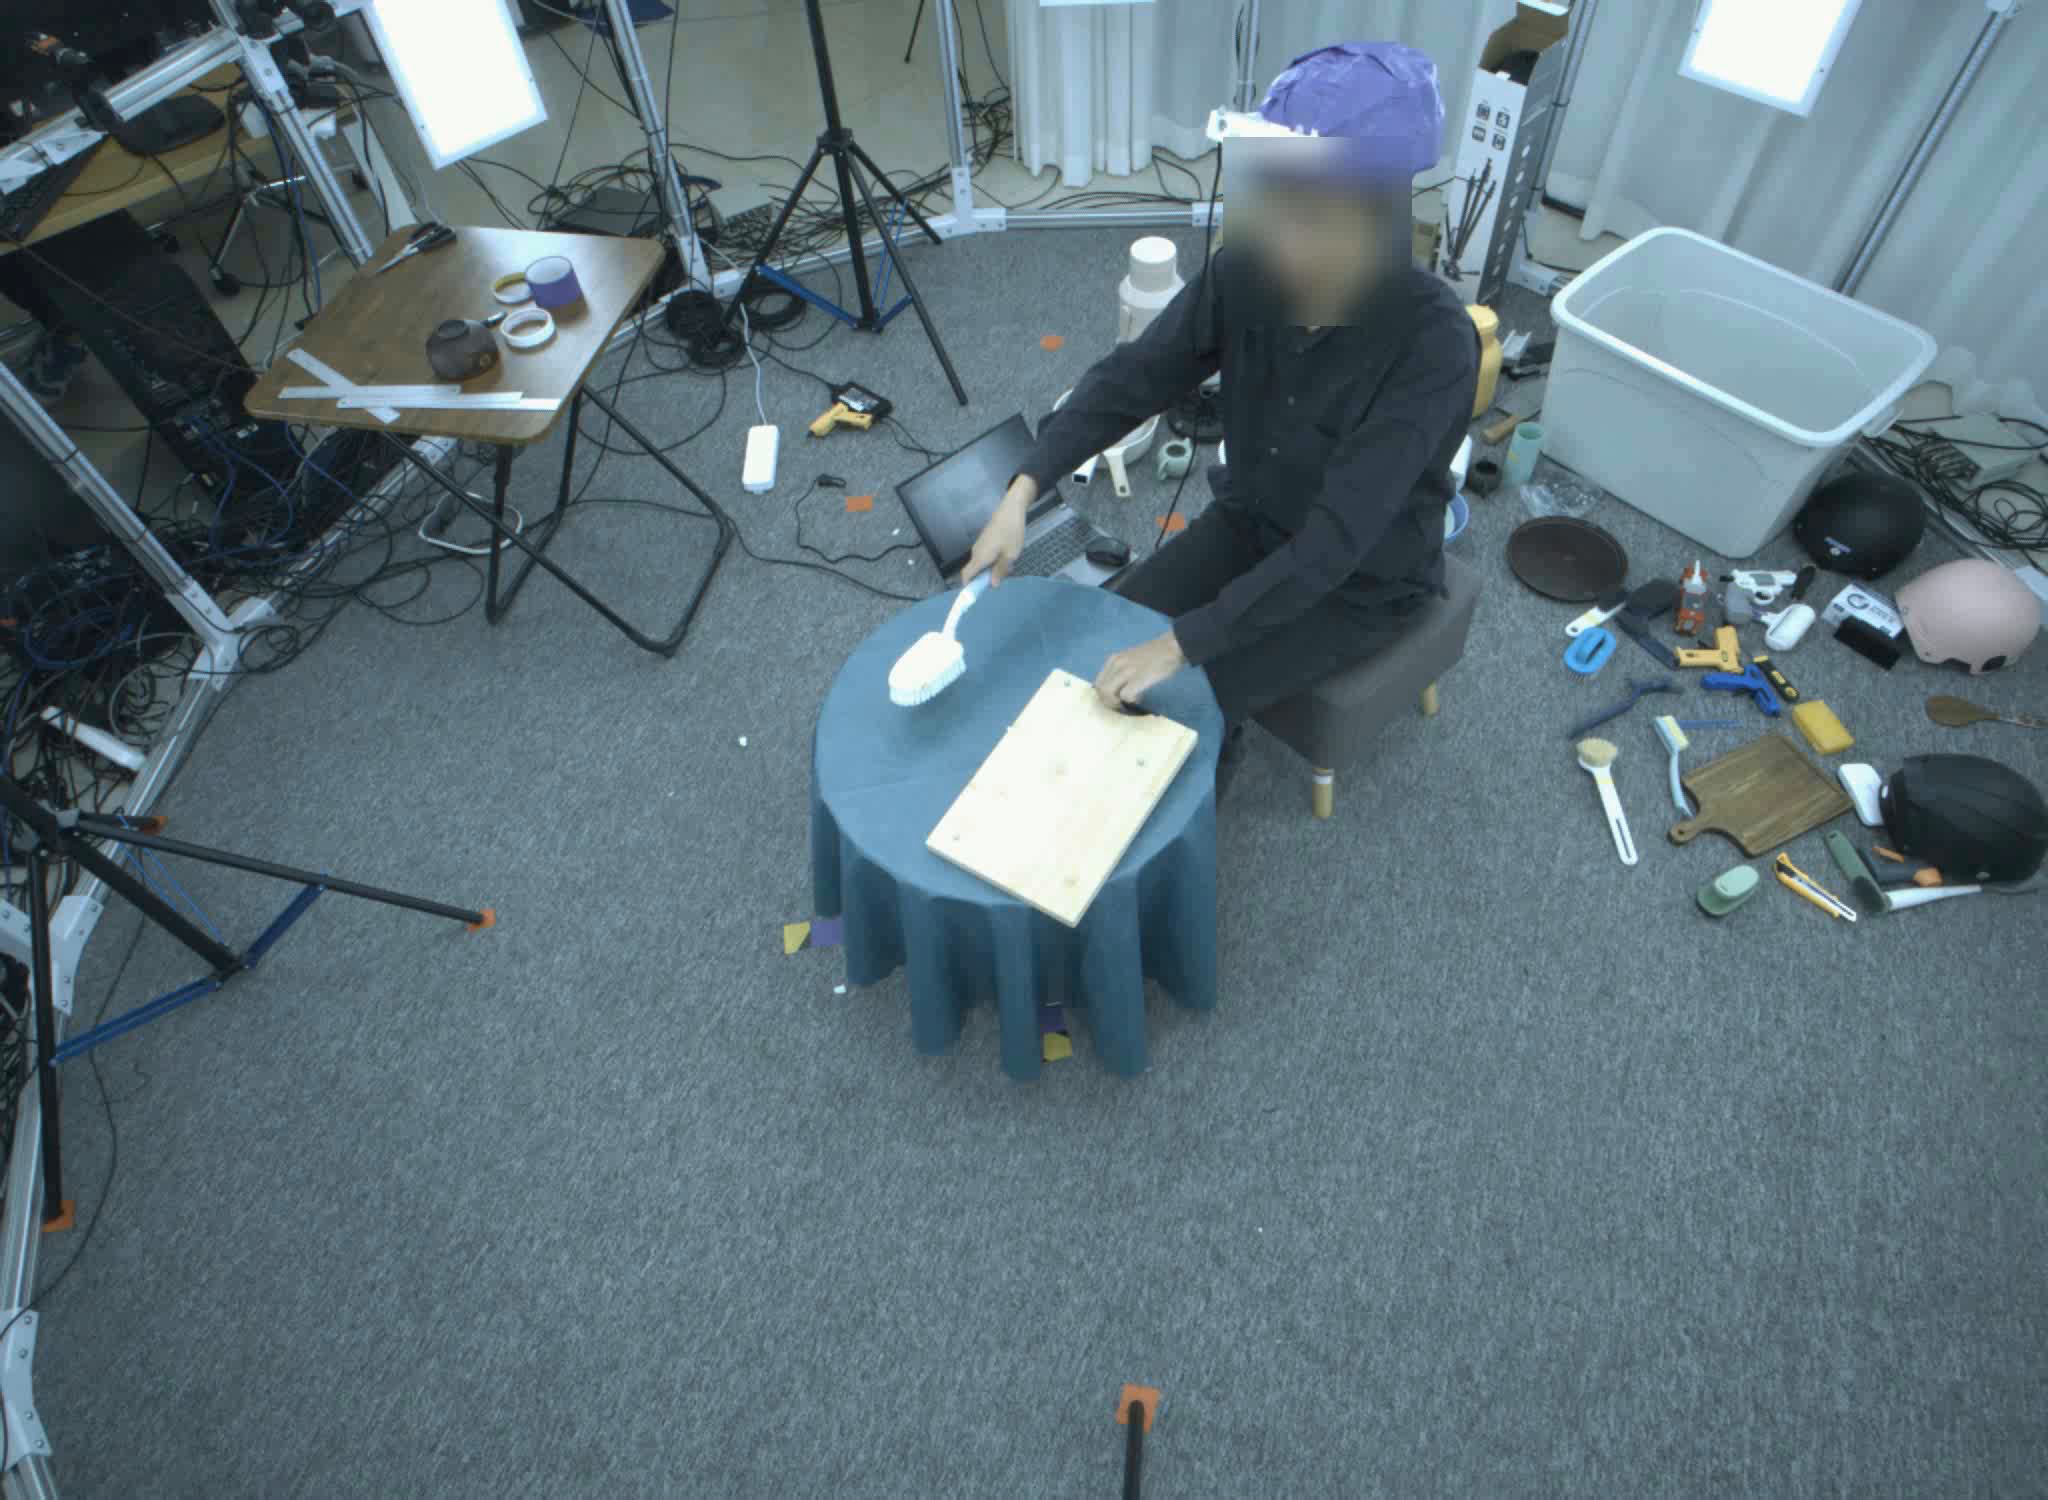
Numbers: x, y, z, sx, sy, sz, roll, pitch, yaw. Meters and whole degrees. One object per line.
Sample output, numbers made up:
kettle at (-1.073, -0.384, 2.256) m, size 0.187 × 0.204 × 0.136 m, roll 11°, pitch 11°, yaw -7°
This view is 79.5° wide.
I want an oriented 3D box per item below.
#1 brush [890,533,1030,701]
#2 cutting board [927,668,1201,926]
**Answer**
brush at (-0.085, -0.189, 1.821) m, size 0.084 × 0.083 × 0.326 m, roll 43°, pitch 68°, yaw -13°
cutting board at (0.058, 0.055, 1.723) m, size 0.247 × 0.024 × 0.349 m, roll 25°, pitch 63°, yaw 18°
